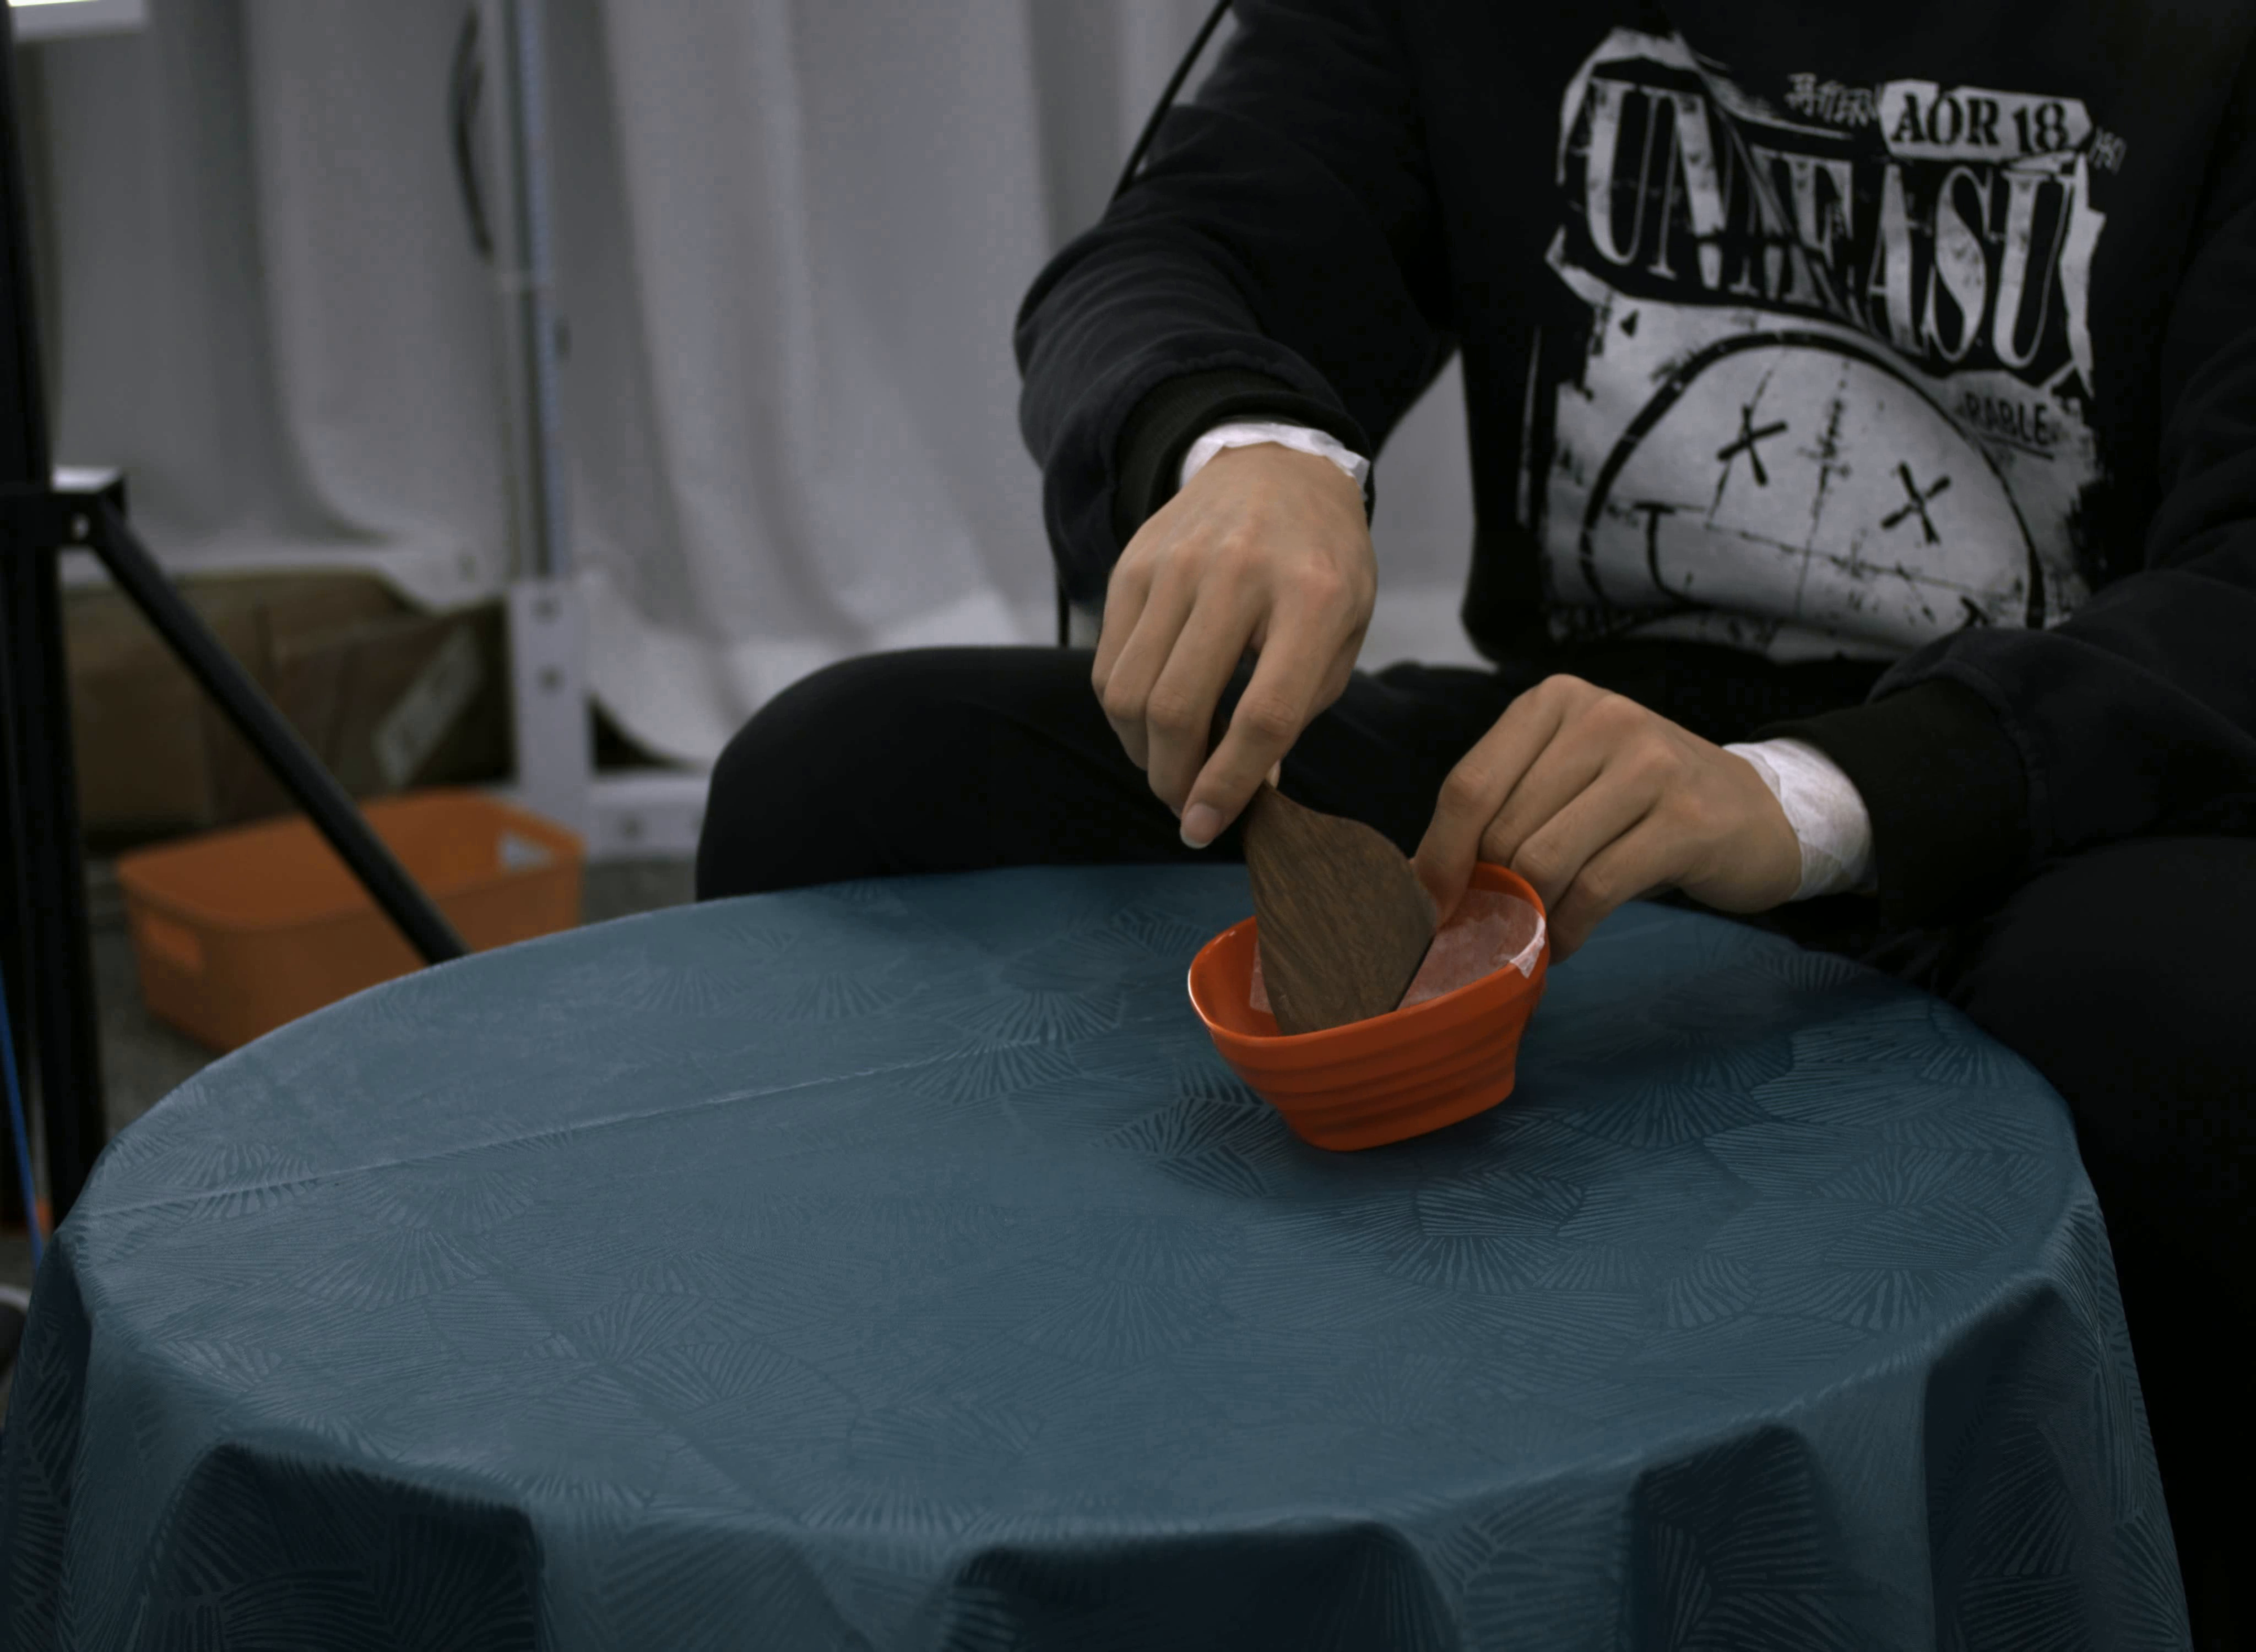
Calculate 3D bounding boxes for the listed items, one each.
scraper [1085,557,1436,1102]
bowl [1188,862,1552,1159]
[{"bbox_3d":[0.035,-0.009,1.620,0.010,0.076,0.215,10,35,-37],"label":"scraper"},{"bbox_3d":[0.078,0.060,1.600,0.119,0.051,0.120,-17,21,5],"label":"bowl"}]
